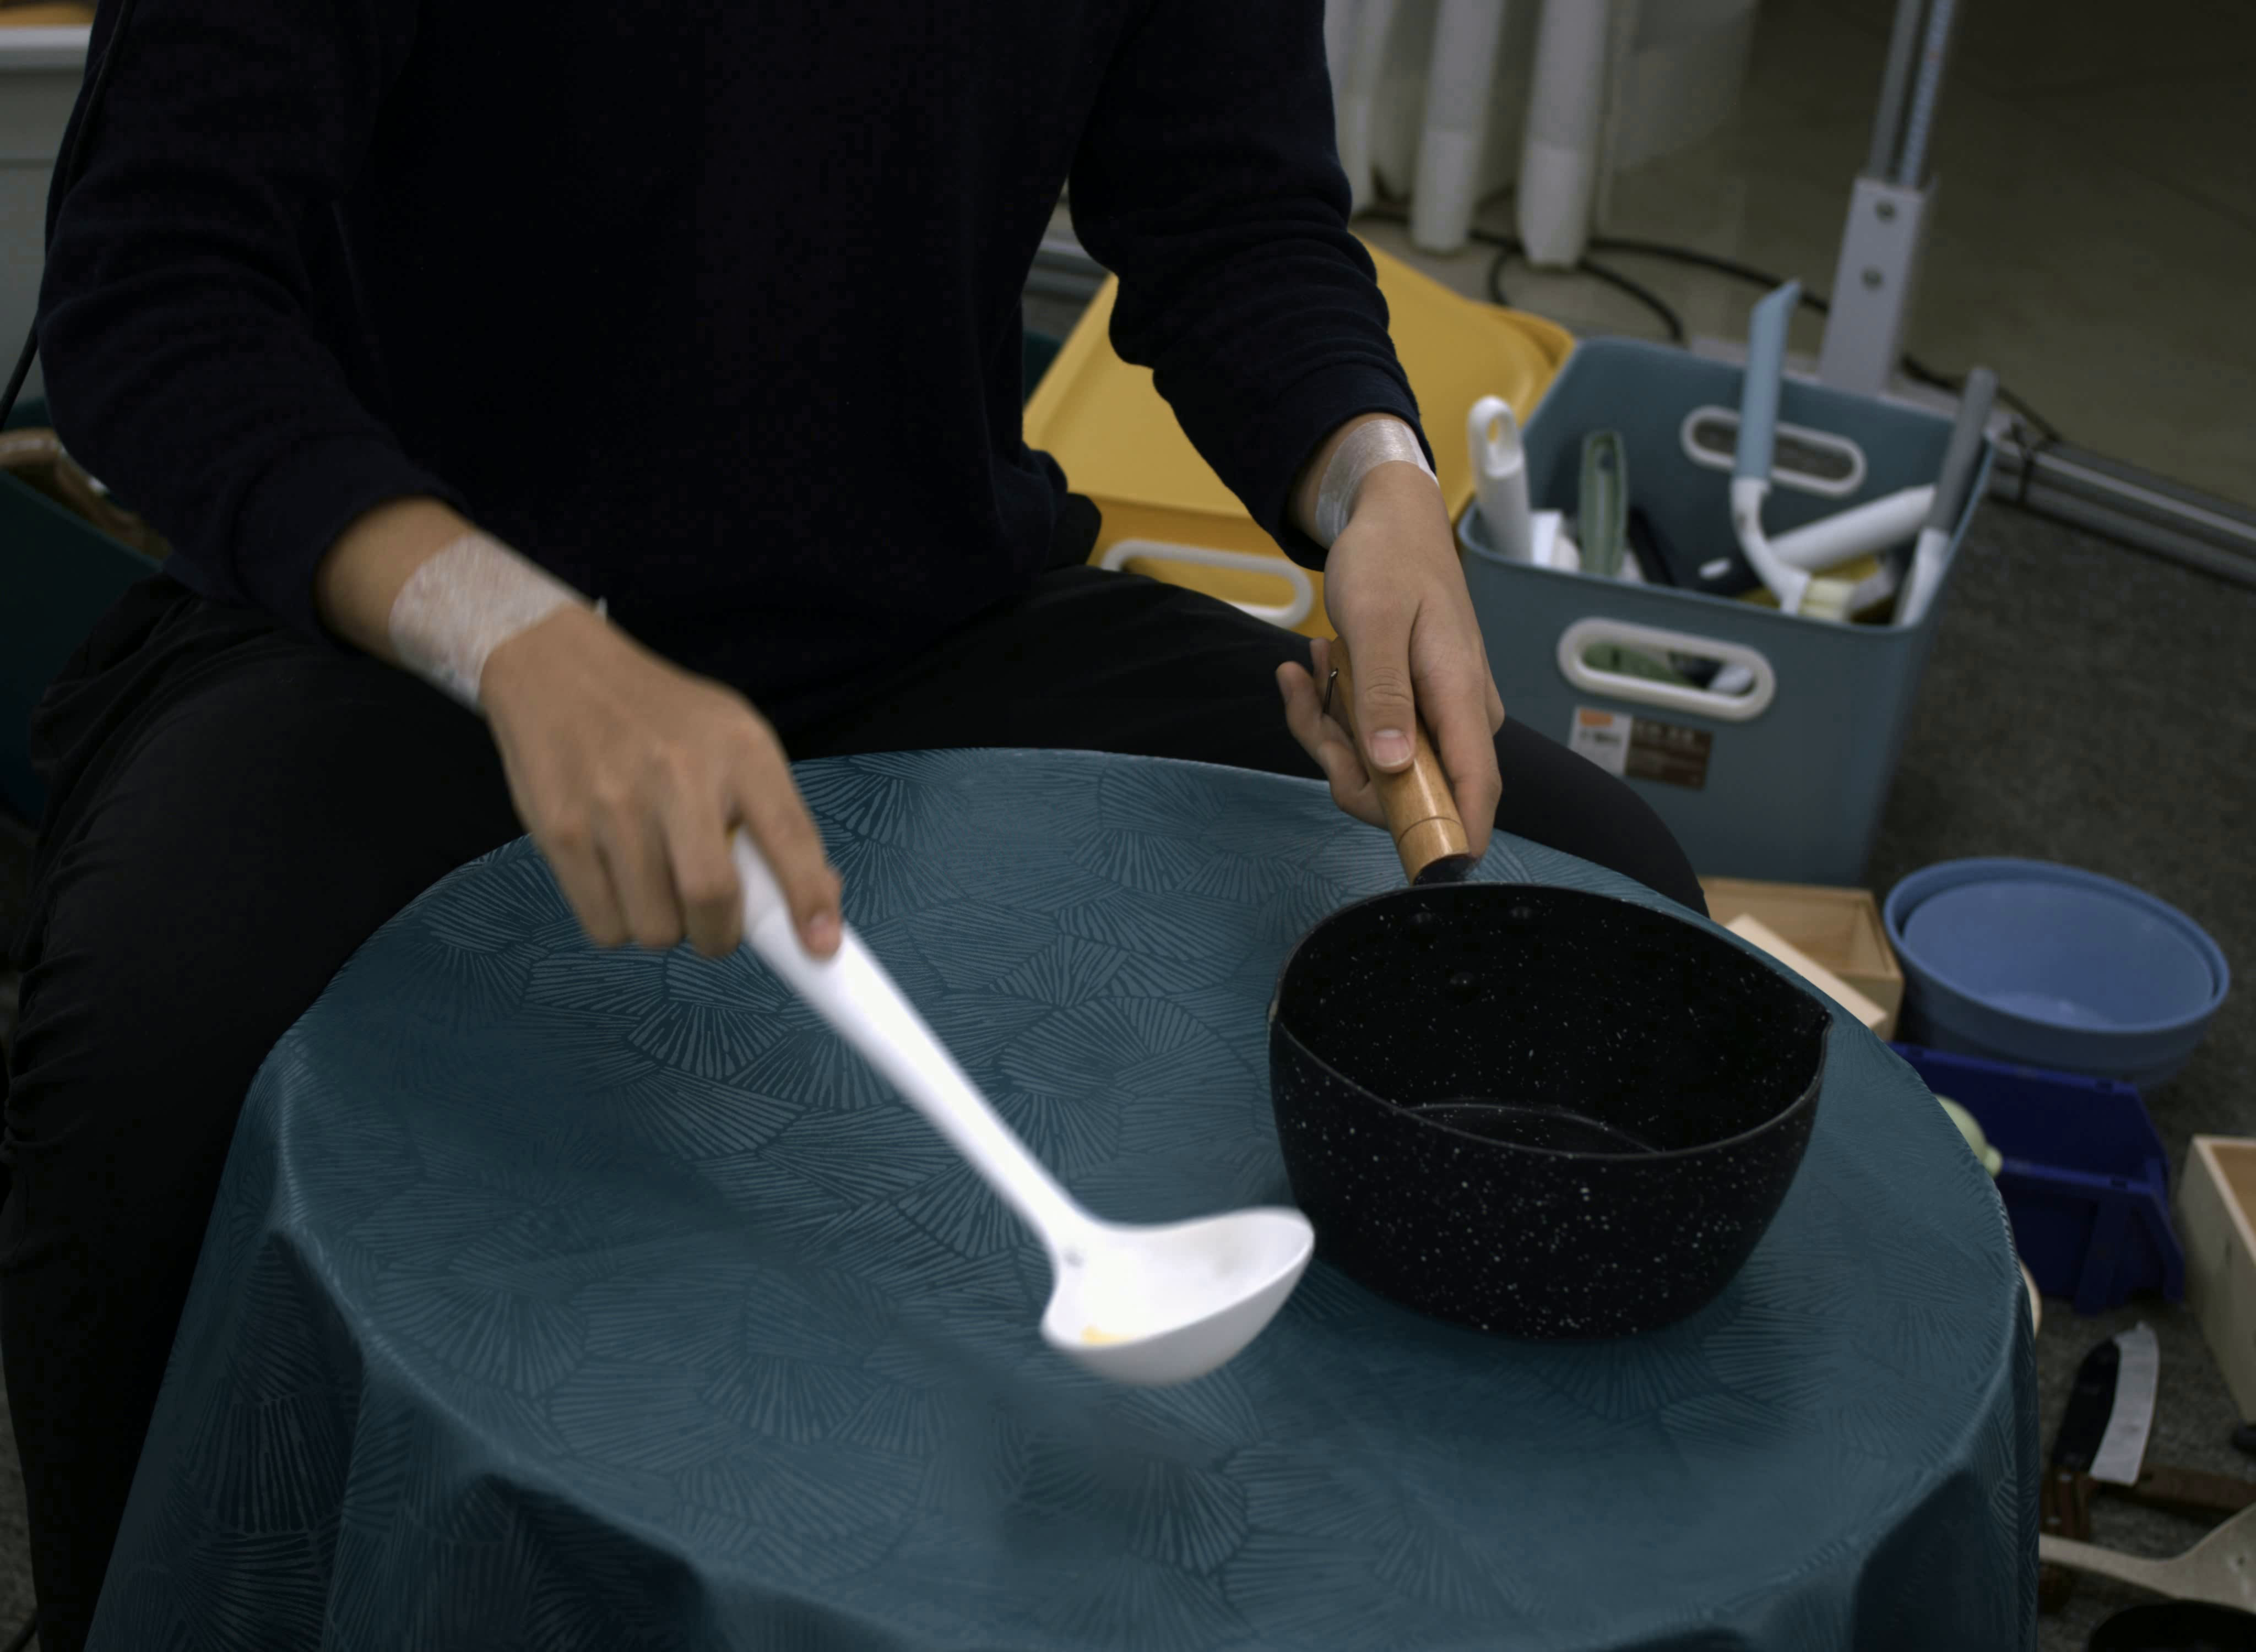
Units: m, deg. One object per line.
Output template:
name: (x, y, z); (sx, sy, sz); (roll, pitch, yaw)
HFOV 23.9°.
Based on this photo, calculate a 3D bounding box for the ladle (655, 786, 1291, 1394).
ladle: (-0.059, 0.075, 1.682); (0.090, 0.069, 0.295); (-32, 56, -19)

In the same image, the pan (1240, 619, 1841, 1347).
pan: (0.118, 0.051, 1.852); (0.206, 0.108, 0.346); (-2, 30, -15)
